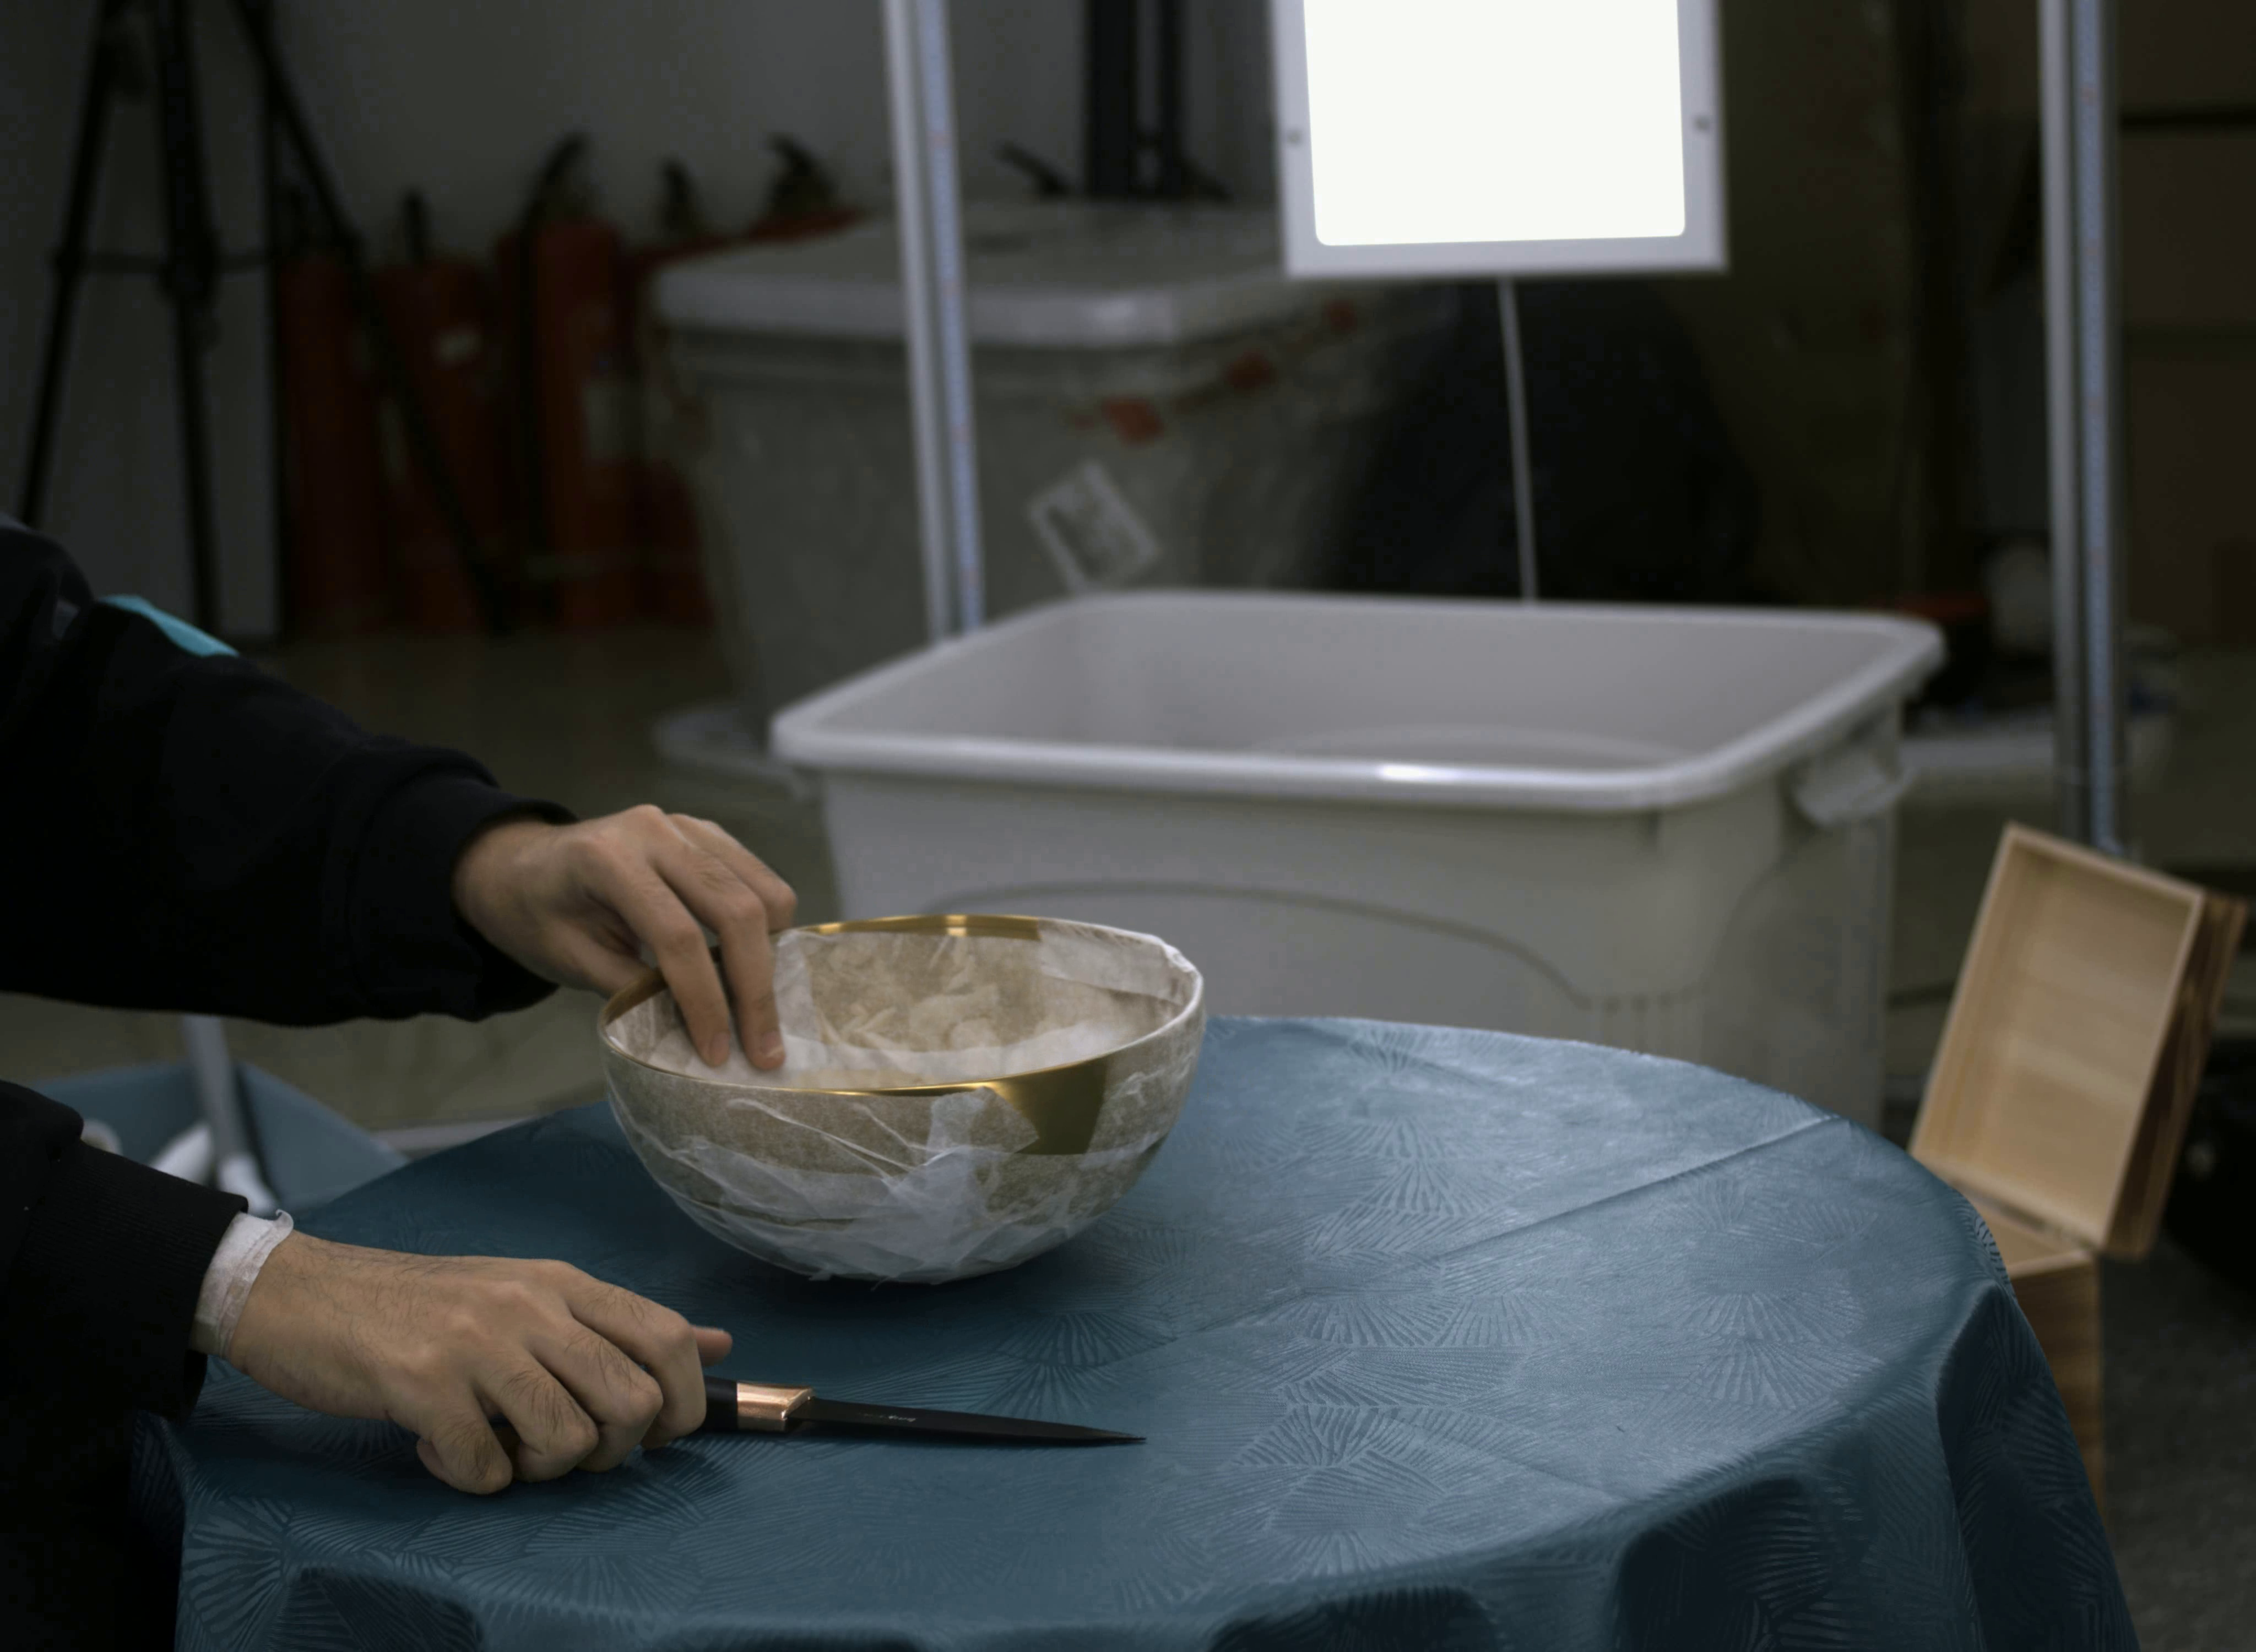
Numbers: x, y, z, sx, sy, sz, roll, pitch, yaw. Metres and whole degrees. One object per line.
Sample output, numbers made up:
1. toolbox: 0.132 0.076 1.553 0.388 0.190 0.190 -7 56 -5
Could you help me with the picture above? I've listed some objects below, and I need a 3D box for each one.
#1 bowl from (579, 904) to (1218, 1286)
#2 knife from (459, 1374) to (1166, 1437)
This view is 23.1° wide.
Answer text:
1. bowl: -0.074 0.098 1.838 0.214 0.095 0.214 -4 16 0
2. knife: -0.098 0.180 1.695 0.228 0.017 0.026 1 7 18
